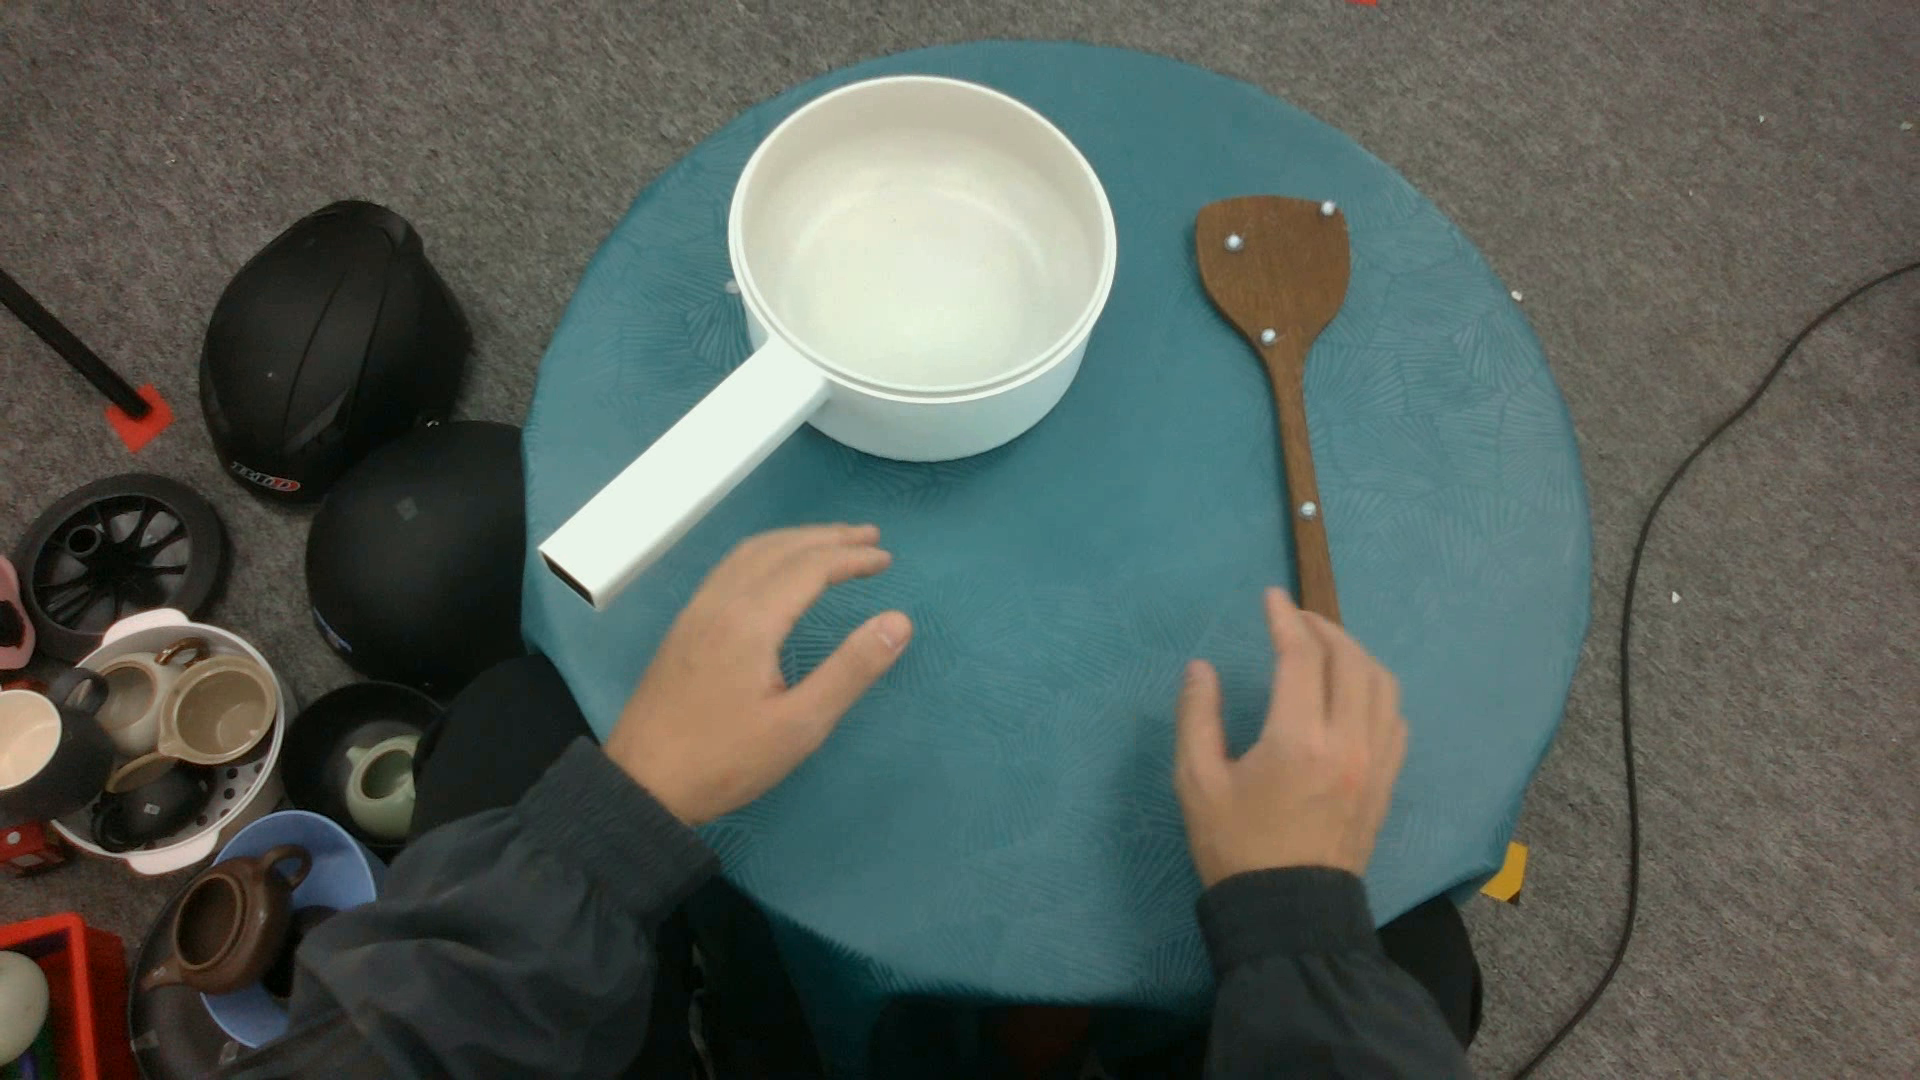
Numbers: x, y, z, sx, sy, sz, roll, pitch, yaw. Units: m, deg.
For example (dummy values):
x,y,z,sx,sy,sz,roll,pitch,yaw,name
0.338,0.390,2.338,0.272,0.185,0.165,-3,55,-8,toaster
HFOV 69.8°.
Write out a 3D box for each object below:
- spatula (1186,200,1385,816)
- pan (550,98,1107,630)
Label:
x,y,z,sx,sy,sz,roll,pitch,yaw,name
0.196,-0.036,0.785,0.096,0.016,0.387,-2,66,-4,spatula
-0.071,-0.082,0.746,0.201,0.101,0.356,37,70,12,pan
